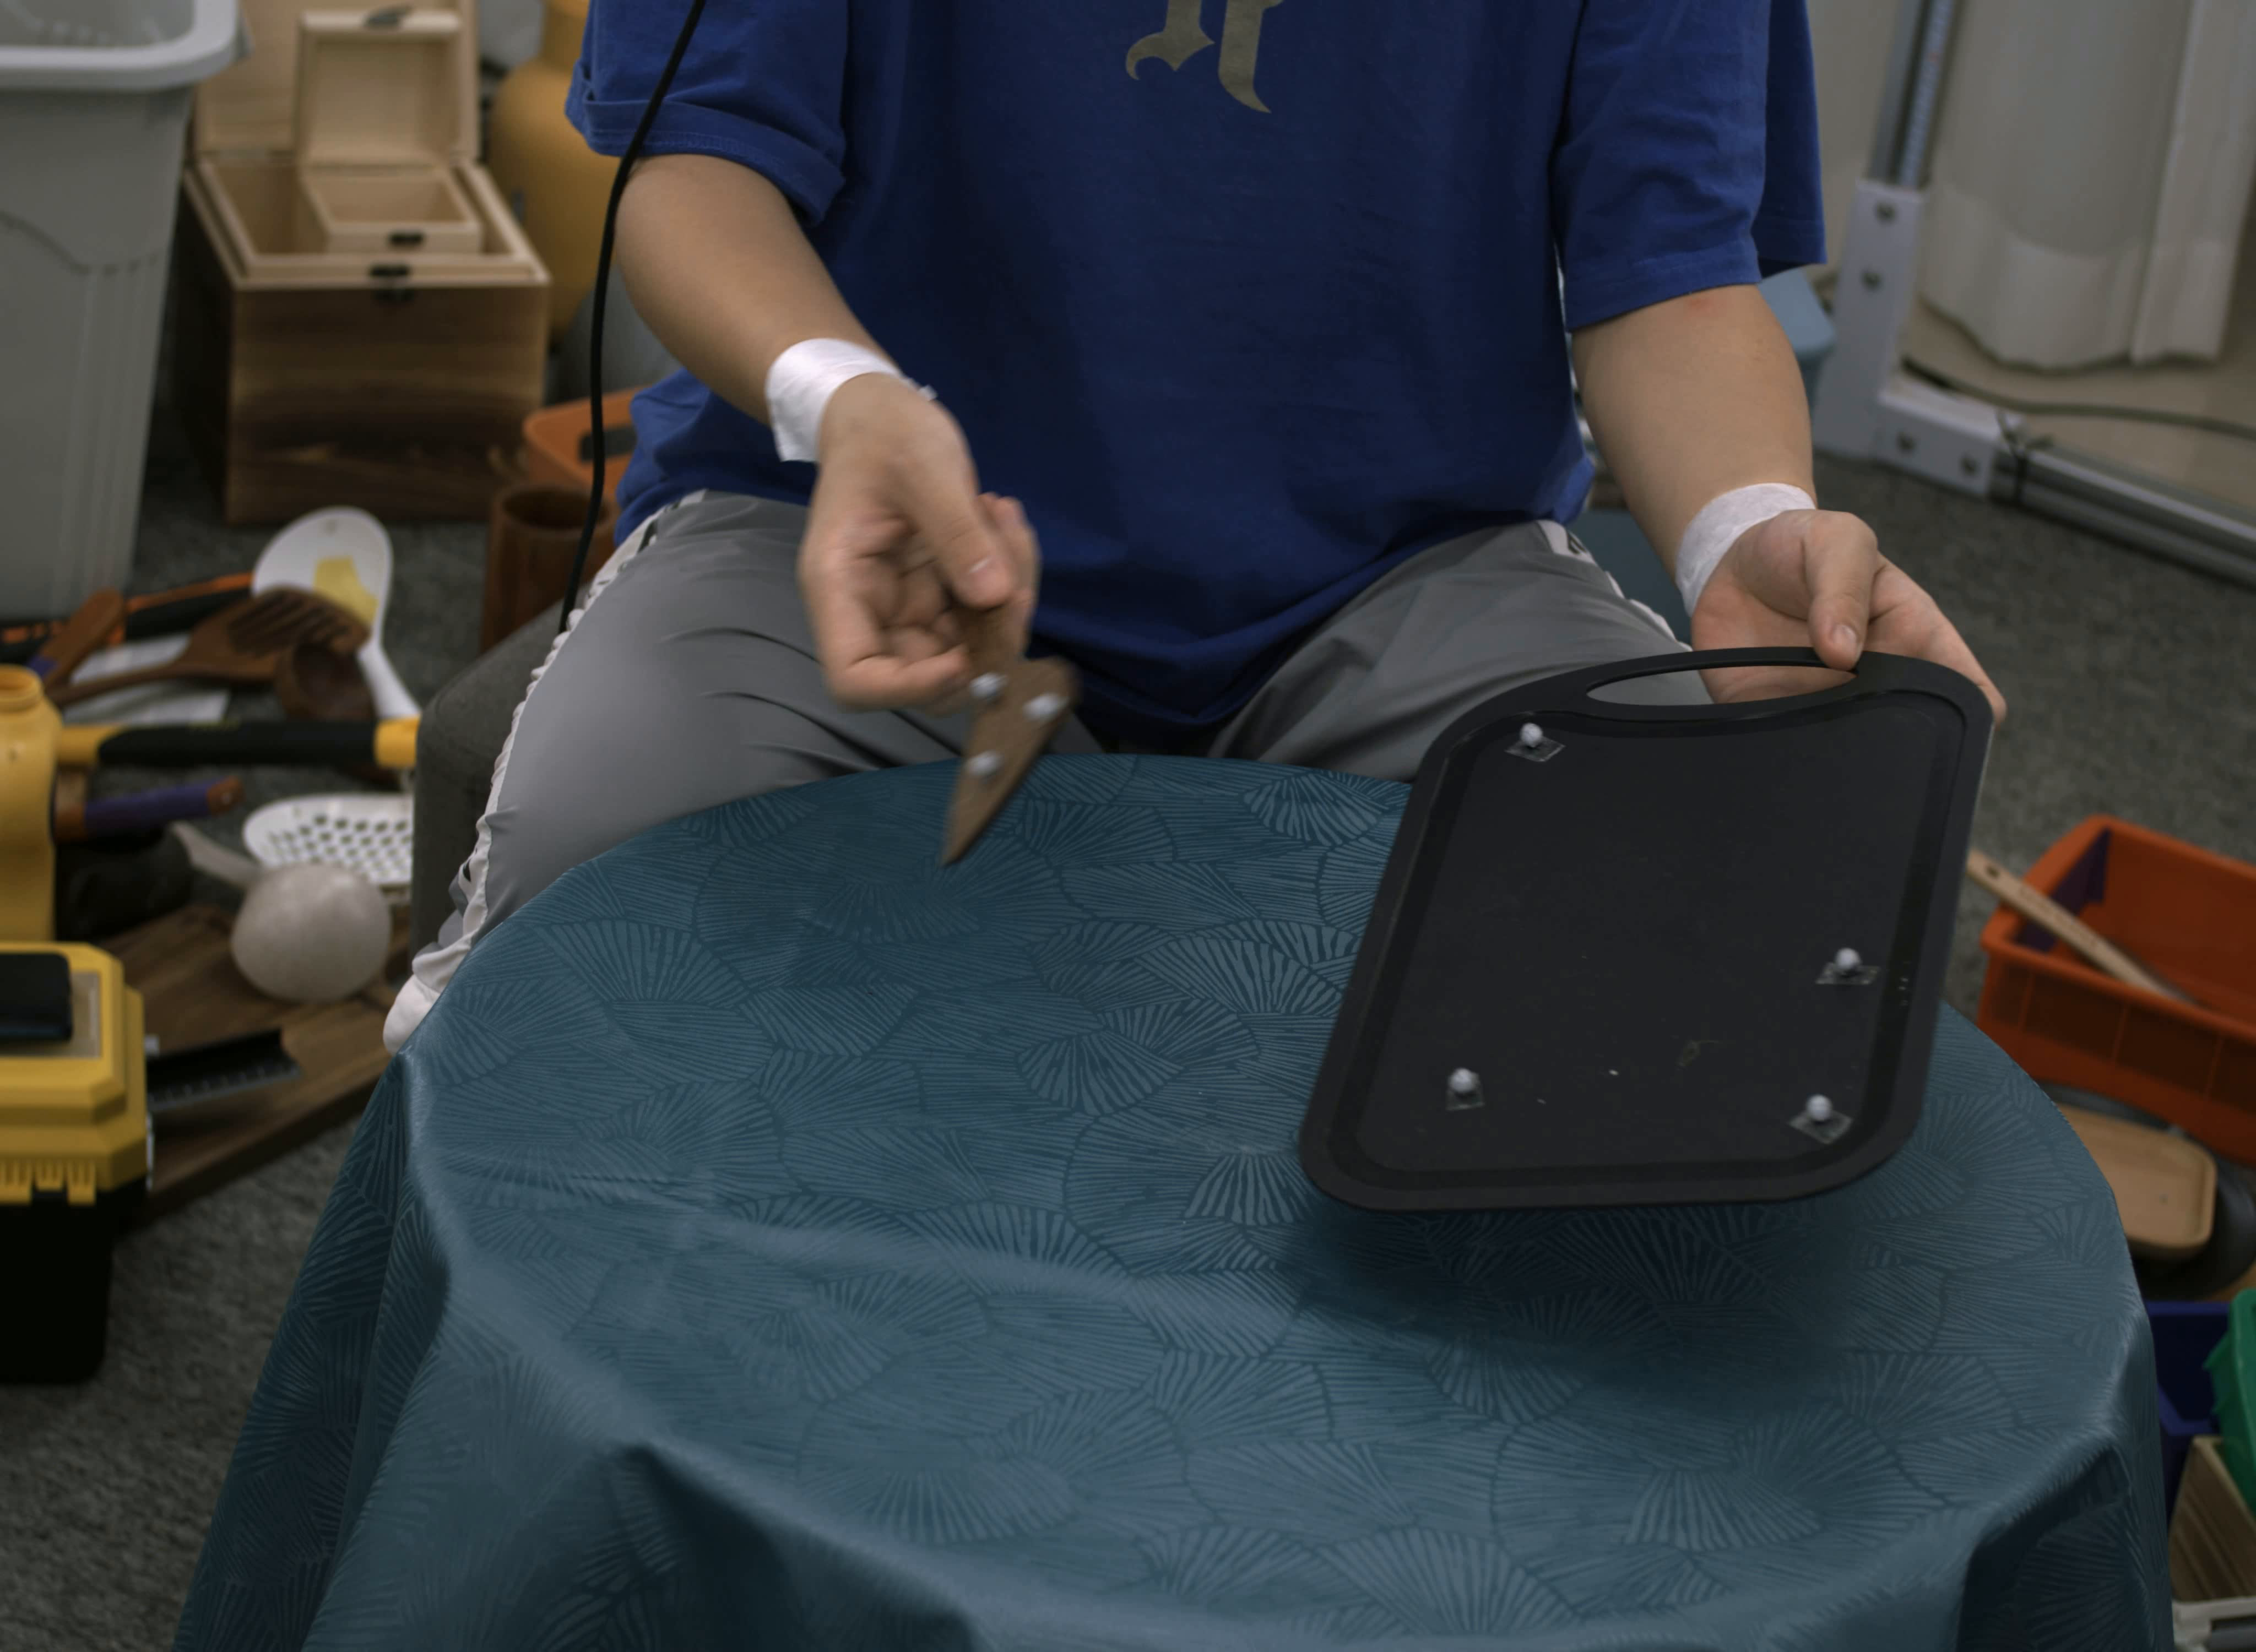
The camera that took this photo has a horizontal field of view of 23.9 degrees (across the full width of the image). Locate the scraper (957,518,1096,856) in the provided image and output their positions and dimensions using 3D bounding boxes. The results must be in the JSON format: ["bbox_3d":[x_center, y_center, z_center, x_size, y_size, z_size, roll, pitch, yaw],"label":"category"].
[{"bbox_3d":[-0.042,-0.059,1.863,0.011,0.076,0.213,30,19,-19],"label":"scraper"}]

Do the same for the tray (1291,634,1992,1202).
[{"bbox_3d":[0.181,0.024,1.833,0.211,0.010,0.327,-3,34,20],"label":"tray"}]
